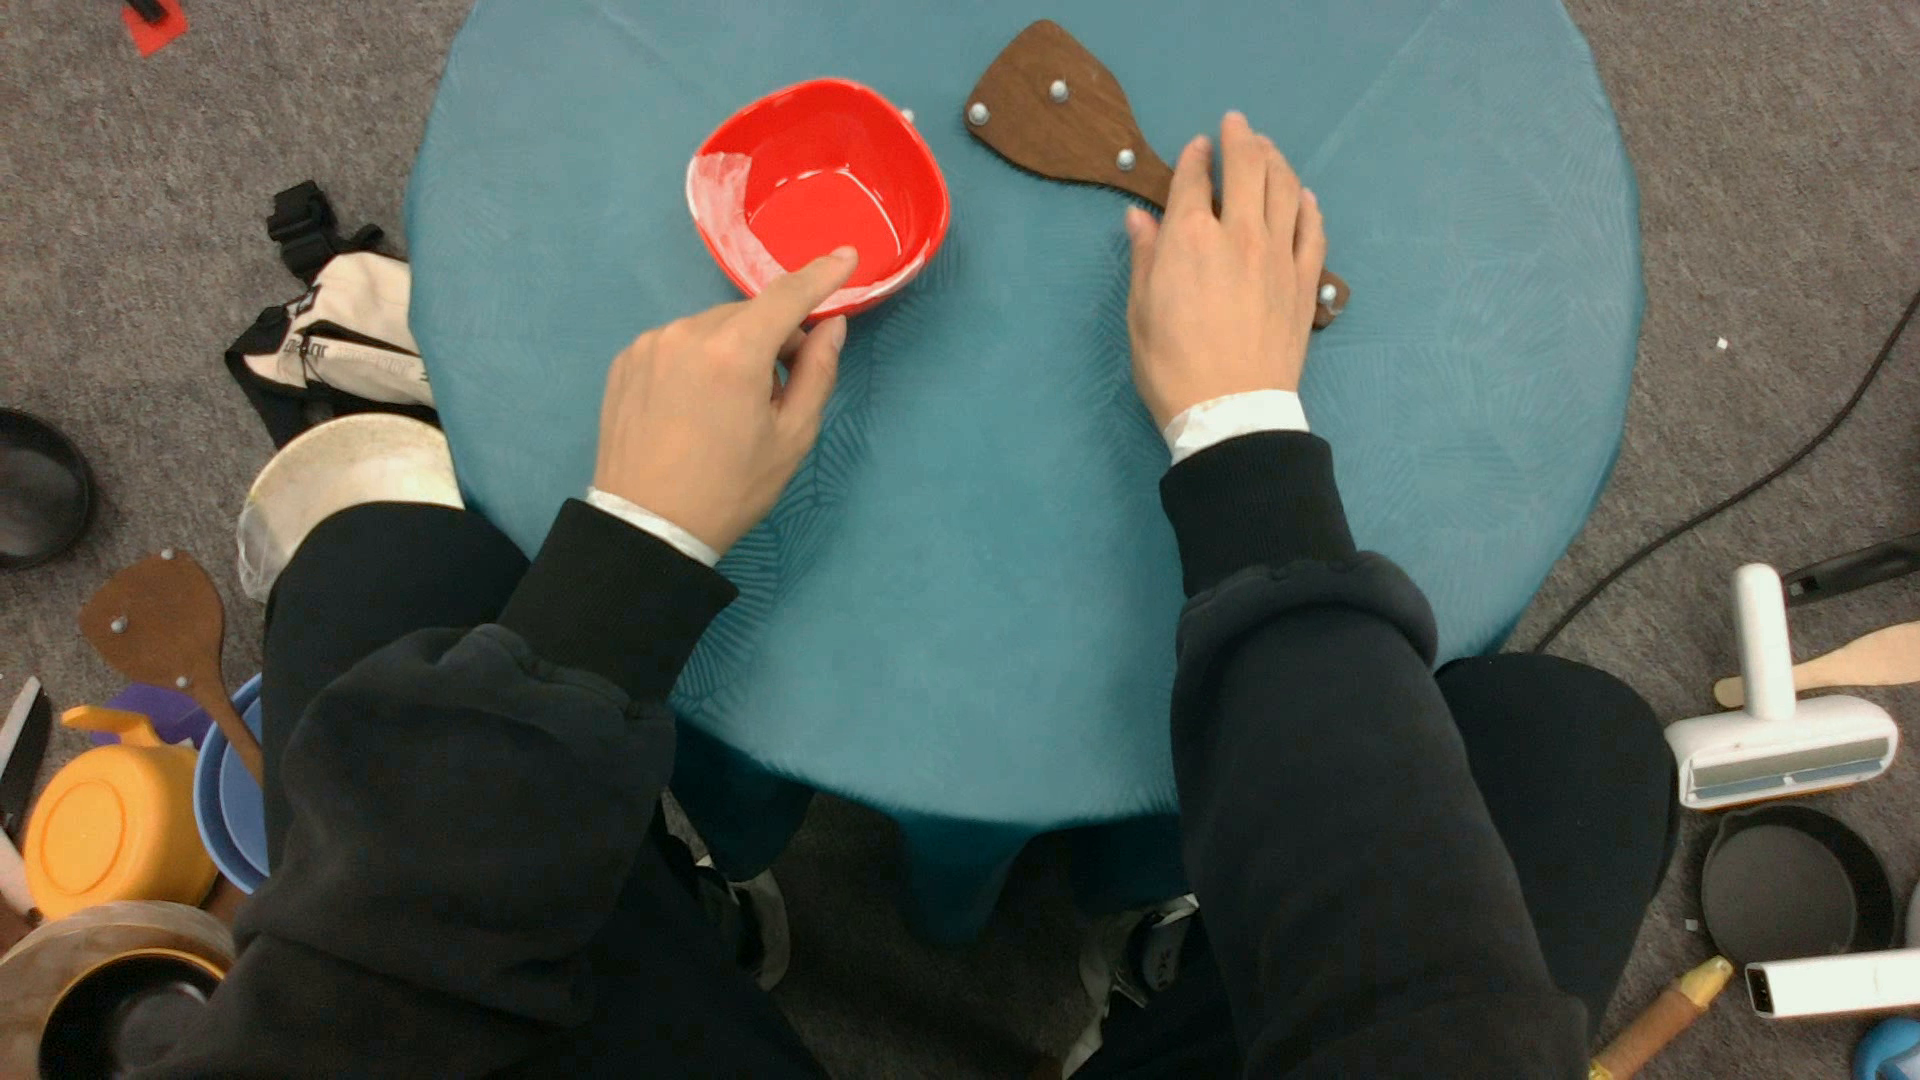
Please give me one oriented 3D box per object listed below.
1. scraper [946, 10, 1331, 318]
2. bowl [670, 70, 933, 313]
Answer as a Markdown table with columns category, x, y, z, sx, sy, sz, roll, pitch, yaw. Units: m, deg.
| category | x | y | z | sx | sy | sz | roll | pitch | yaw |
| --- | --- | --- | --- | --- | --- | --- | --- | --- | --- |
| scraper | 0.091 | -0.178 | 0.676 | 0.211 | 0.011 | 0.076 | 38 | 79 | 7 |
| bowl | -0.072 | -0.154 | 0.642 | 0.119 | 0.051 | 0.119 | 1 | 74 | -3 |
